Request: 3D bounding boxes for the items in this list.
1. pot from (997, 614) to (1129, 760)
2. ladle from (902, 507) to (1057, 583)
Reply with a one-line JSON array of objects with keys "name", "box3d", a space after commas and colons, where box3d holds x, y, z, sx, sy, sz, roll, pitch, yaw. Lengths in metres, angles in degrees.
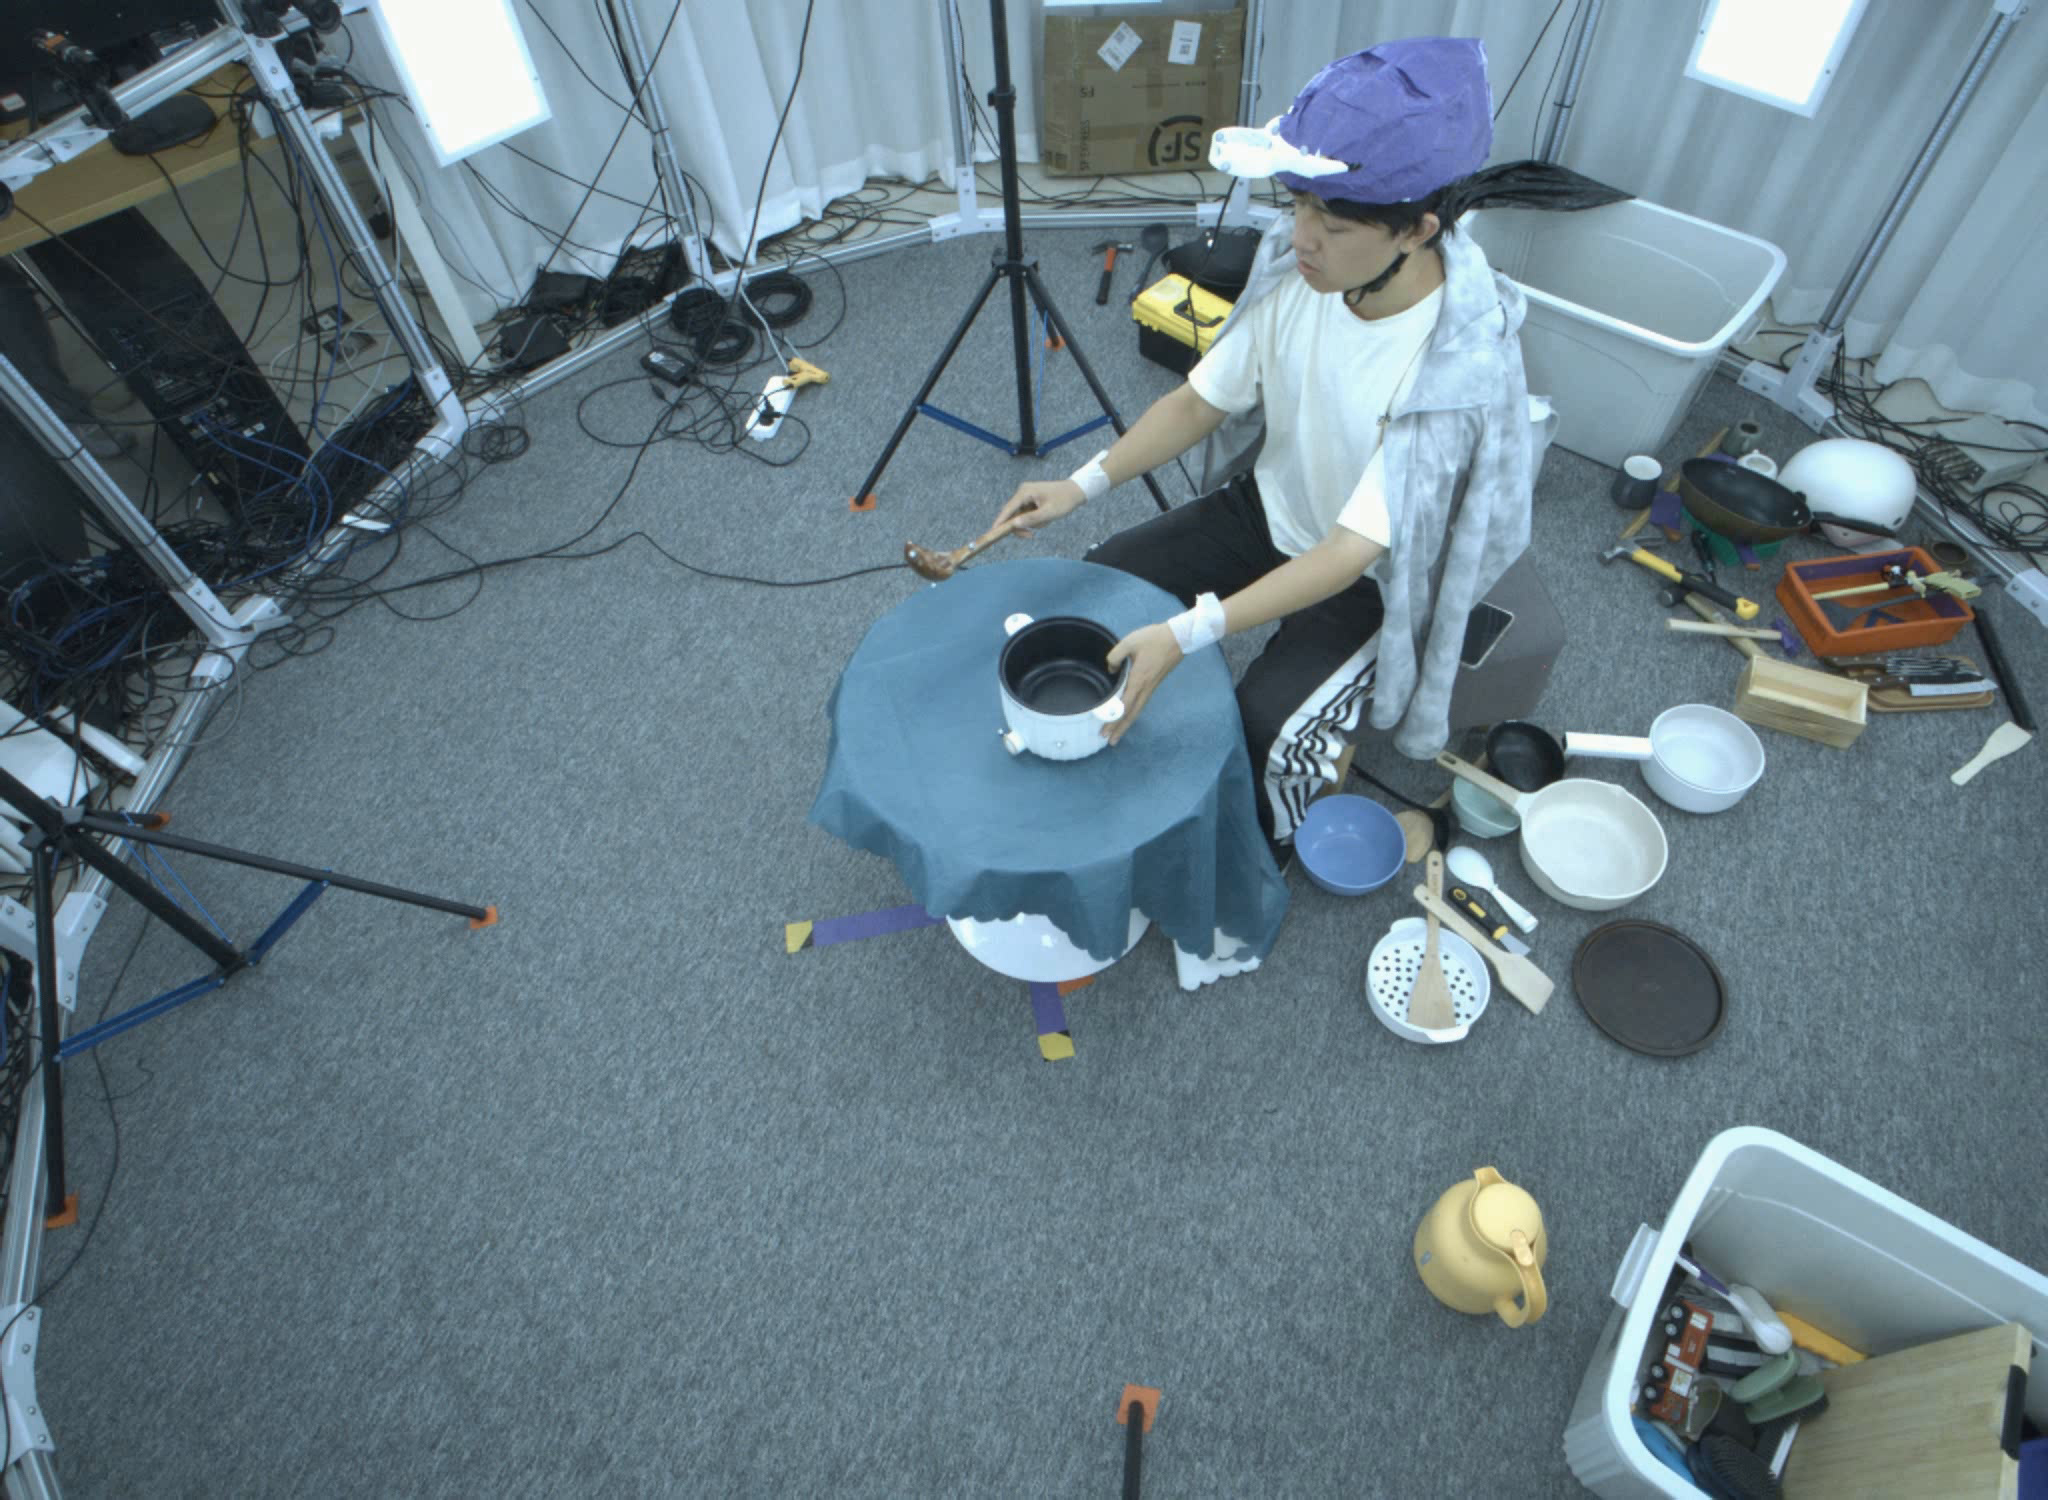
[{"name": "pot", "box3d": [0.053, -0.078, 1.757, 0.192, 0.144, 0.236, -32, 58, -22]}, {"name": "ladle", "box3d": [-0.061, -0.324, 1.816, 0.277, 0.077, 0.081, -31, 68, -24]}]
